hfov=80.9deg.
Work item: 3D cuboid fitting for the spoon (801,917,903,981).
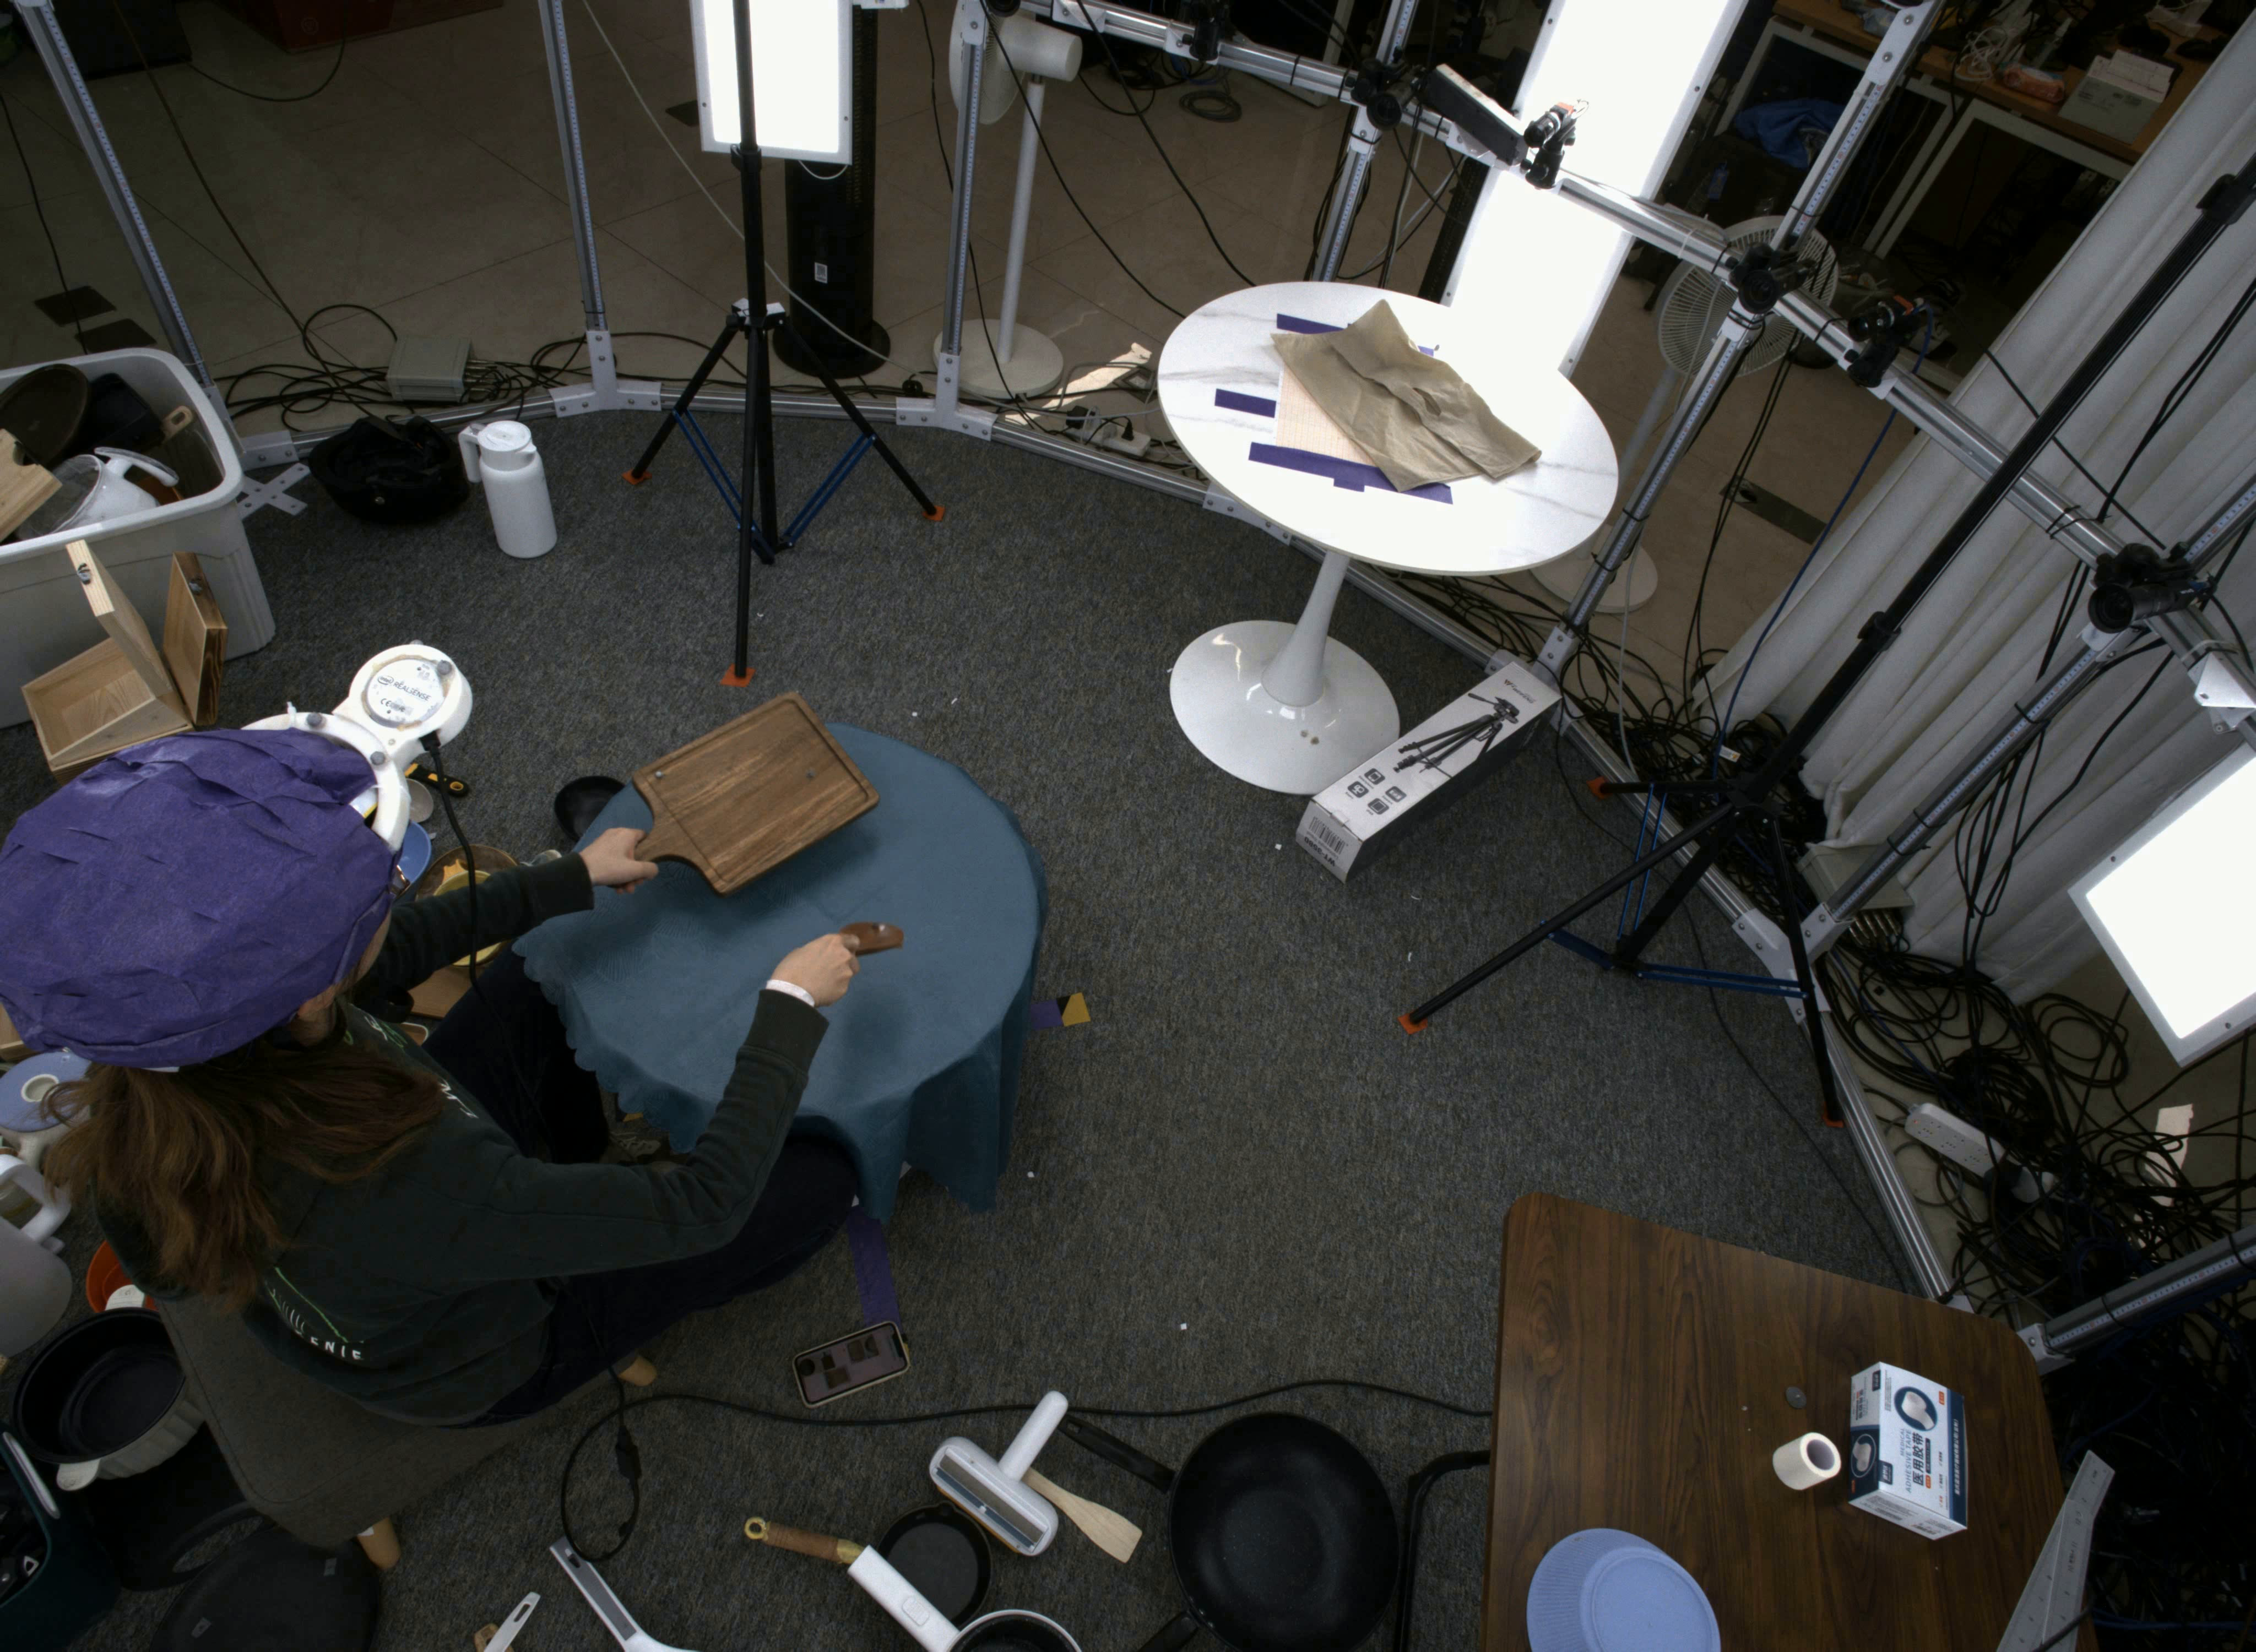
[{"bbox_3d":[-0.315,0.136,1.459,0.074,0.017,0.215,13,12,8],"label":"spoon"}]

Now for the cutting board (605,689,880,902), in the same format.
[{"bbox_3d":[-0.505,-0.022,1.622,0.353,0.023,0.200,-35,85,-33],"label":"cutting board"}]
